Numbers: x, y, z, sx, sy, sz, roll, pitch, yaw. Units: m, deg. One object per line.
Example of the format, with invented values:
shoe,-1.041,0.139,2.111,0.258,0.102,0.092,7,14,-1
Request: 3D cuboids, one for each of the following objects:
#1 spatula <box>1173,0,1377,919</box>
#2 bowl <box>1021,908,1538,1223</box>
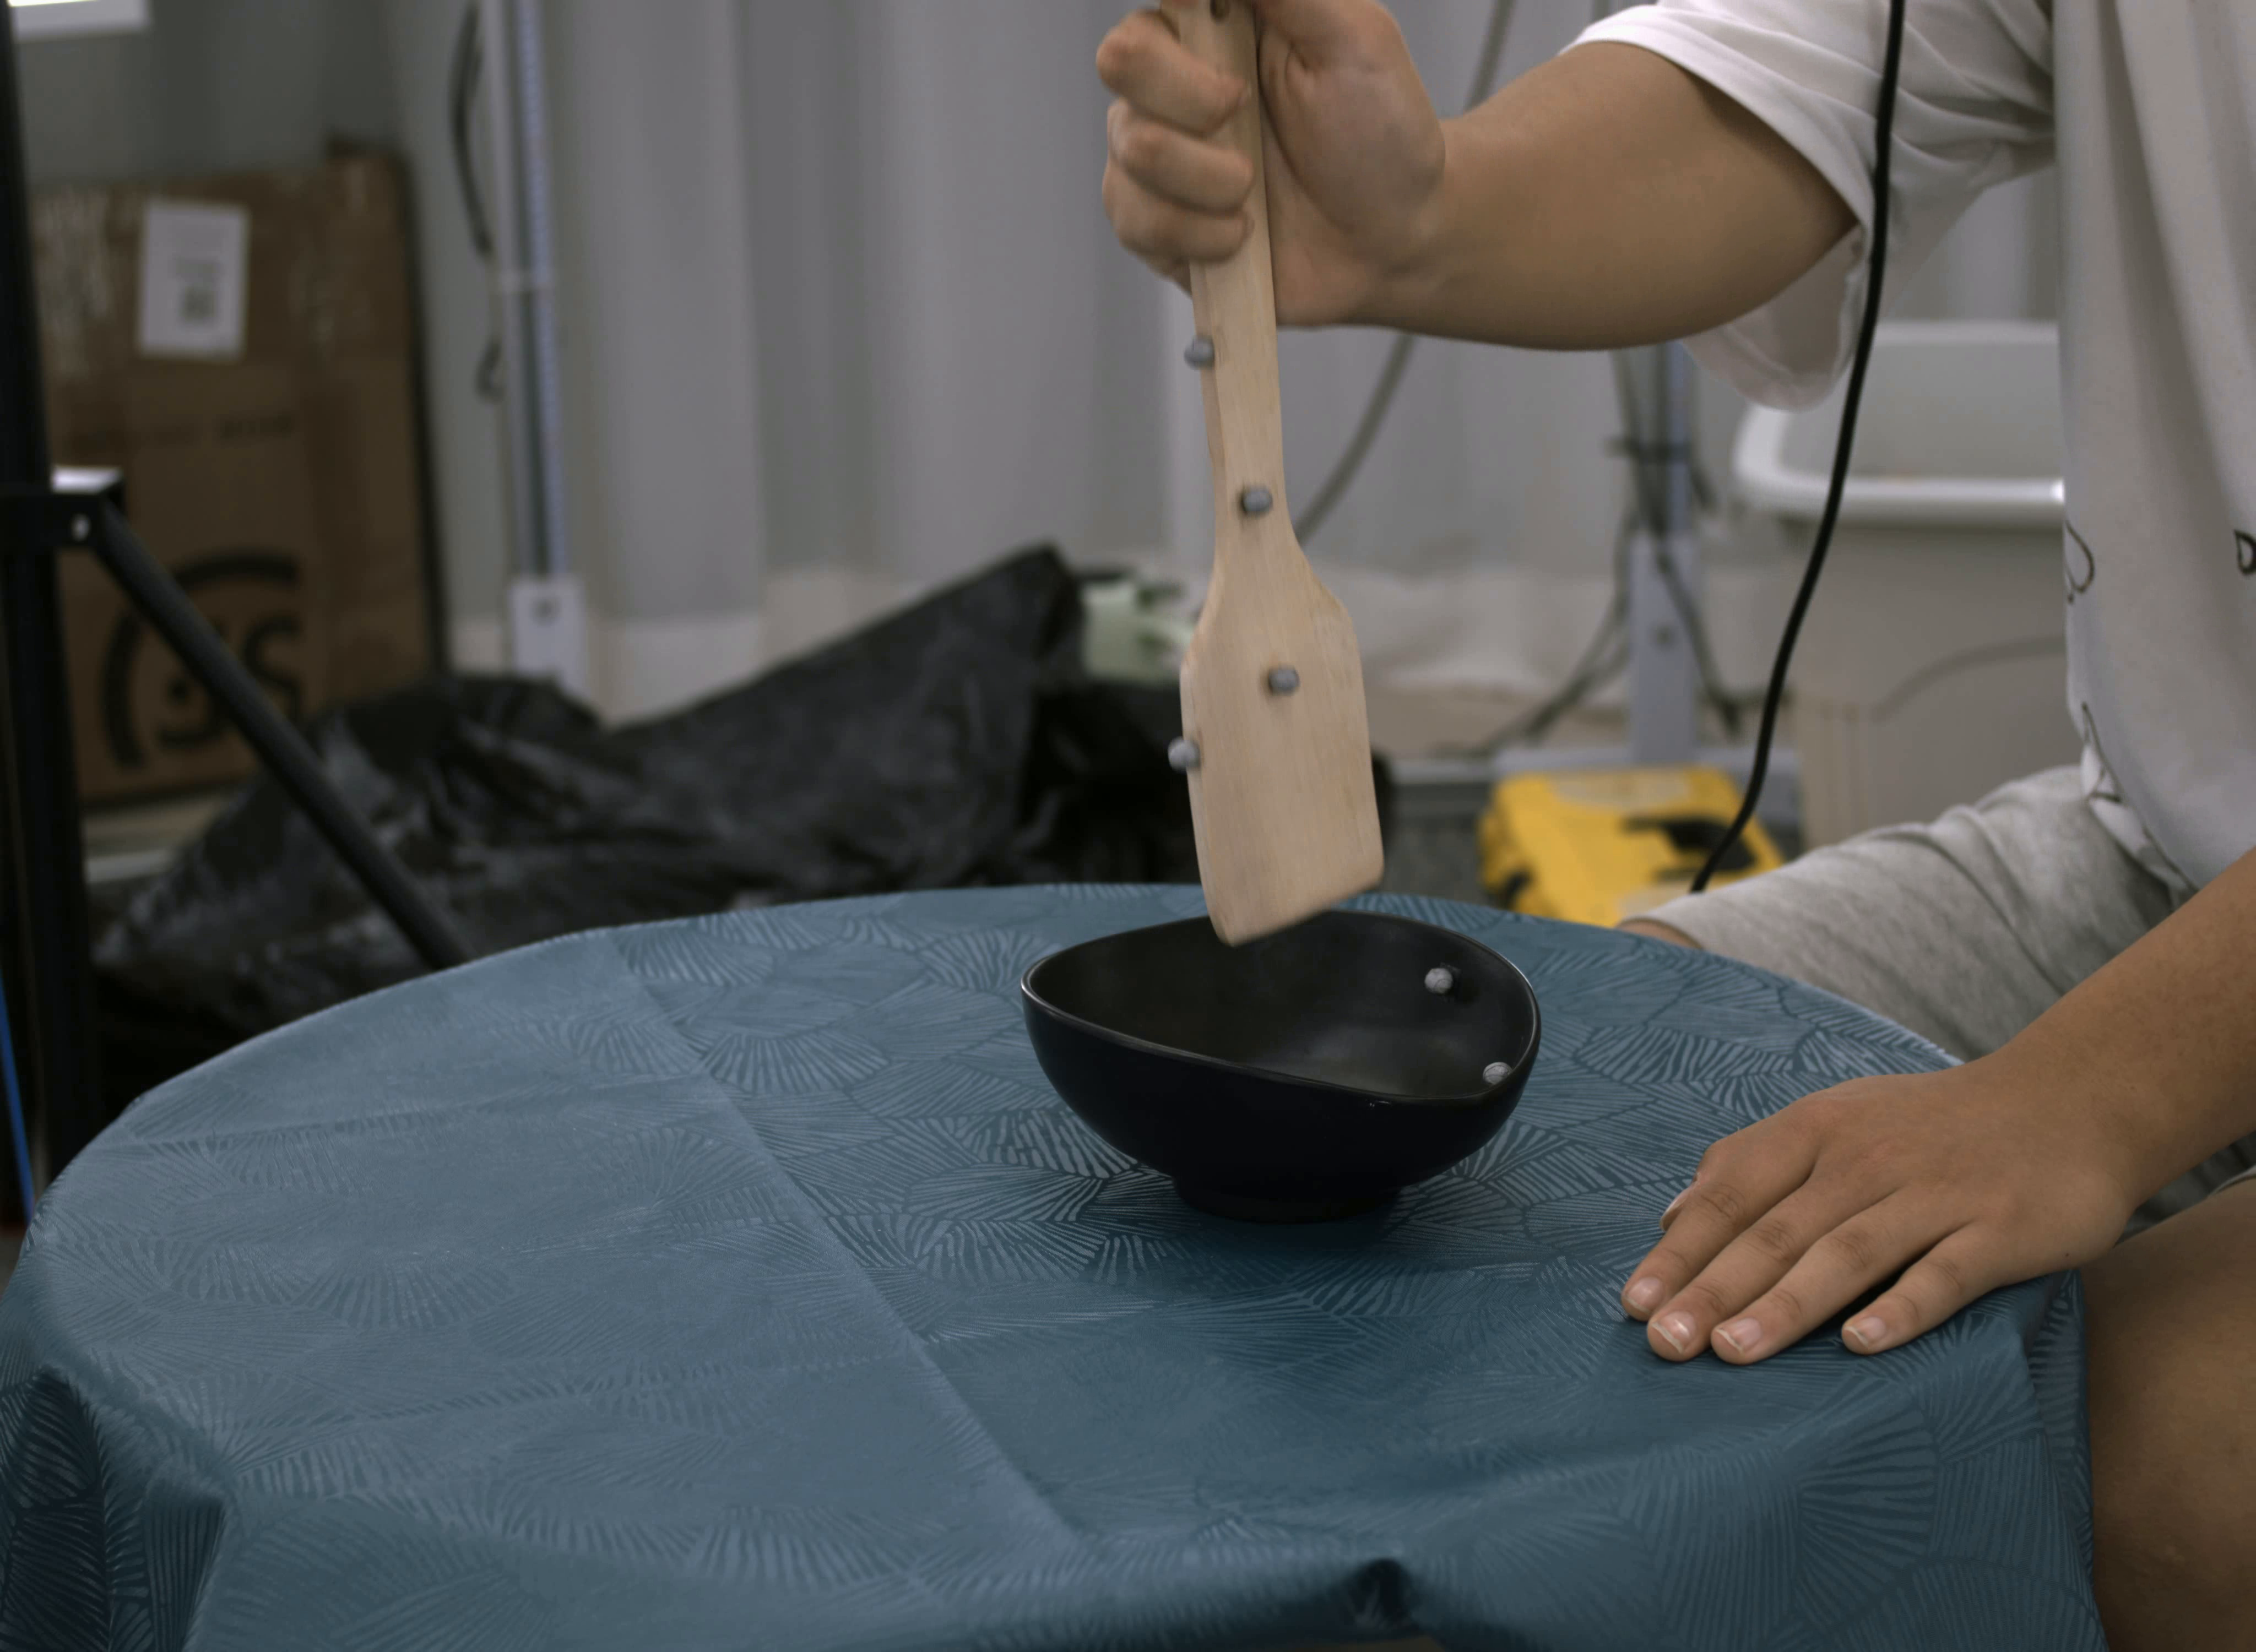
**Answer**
spatula,0.034,-0.119,1.506,0.071,0.292,0.011,-20,21,-40
bowl,0.045,0.075,1.554,0.134,0.067,0.174,-16,22,-41
